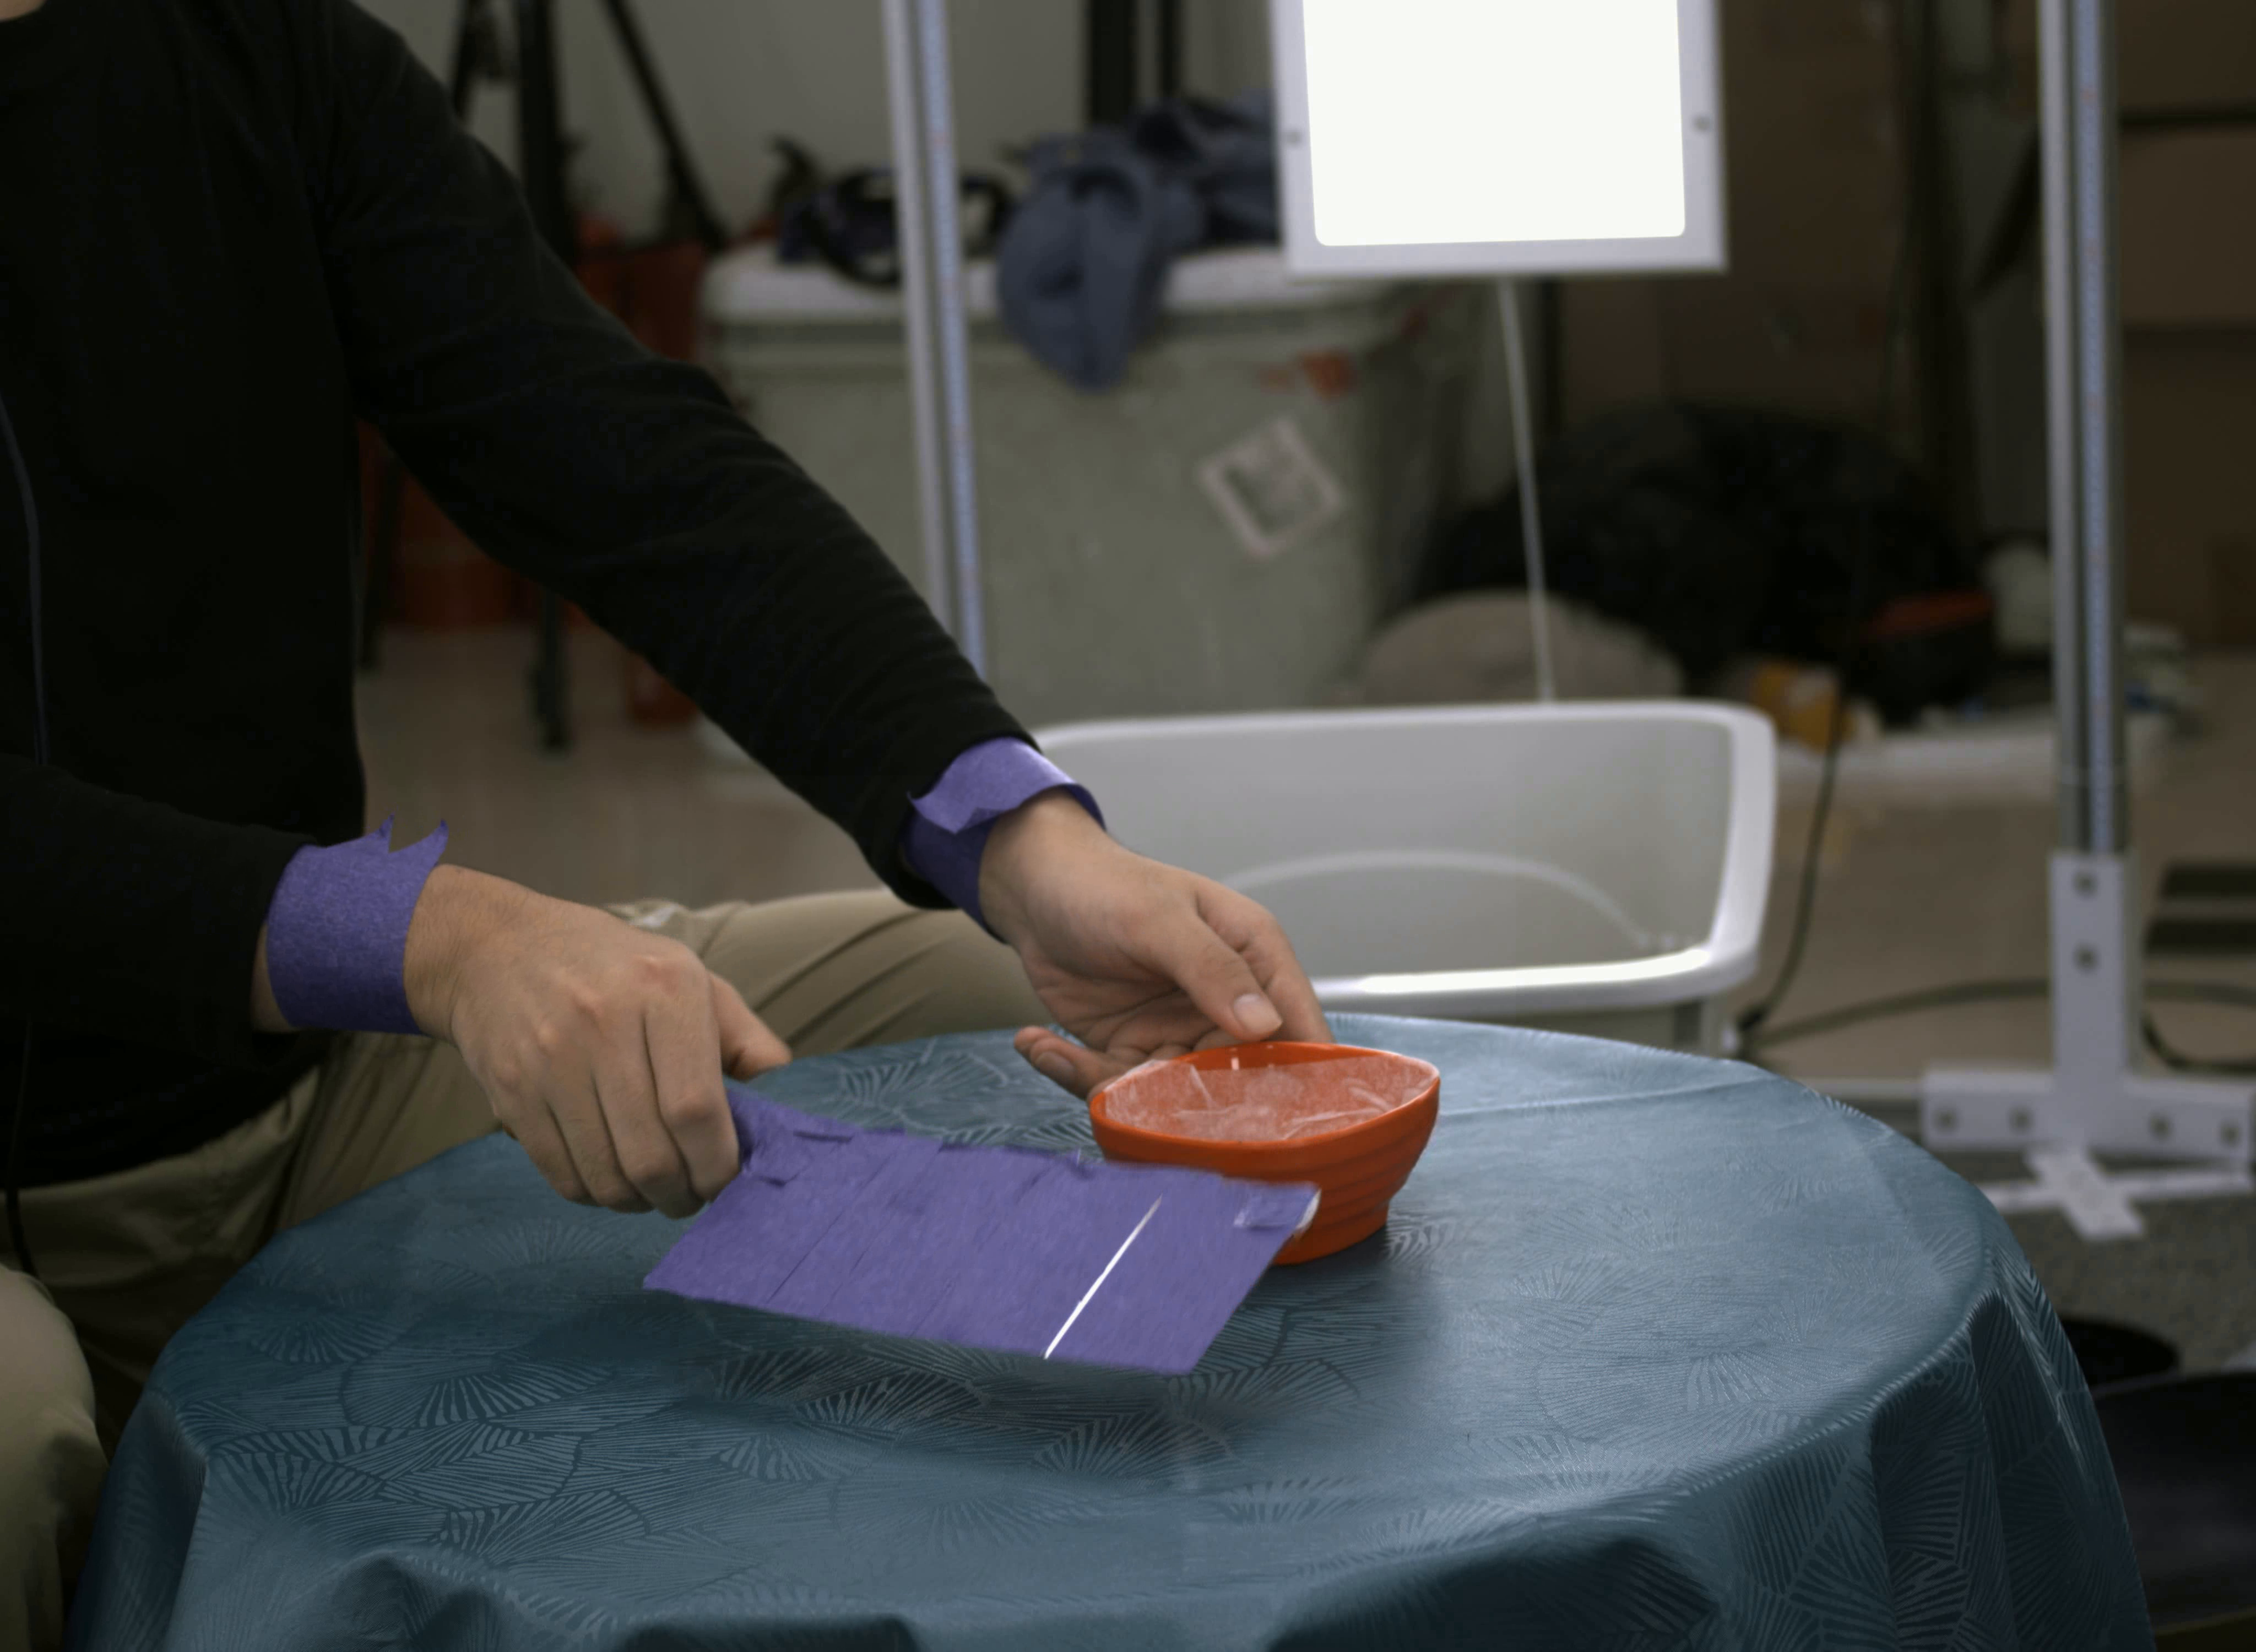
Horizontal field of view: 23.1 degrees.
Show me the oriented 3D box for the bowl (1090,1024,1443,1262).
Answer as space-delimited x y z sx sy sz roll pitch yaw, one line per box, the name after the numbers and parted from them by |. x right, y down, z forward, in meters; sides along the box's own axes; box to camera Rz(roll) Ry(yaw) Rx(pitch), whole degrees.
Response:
0.047 0.108 1.836 0.118 0.051 0.119 -3 17 0 | bowl

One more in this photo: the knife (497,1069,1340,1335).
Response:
-0.088 0.117 1.733 0.322 0.032 0.102 2 36 36 | knife
